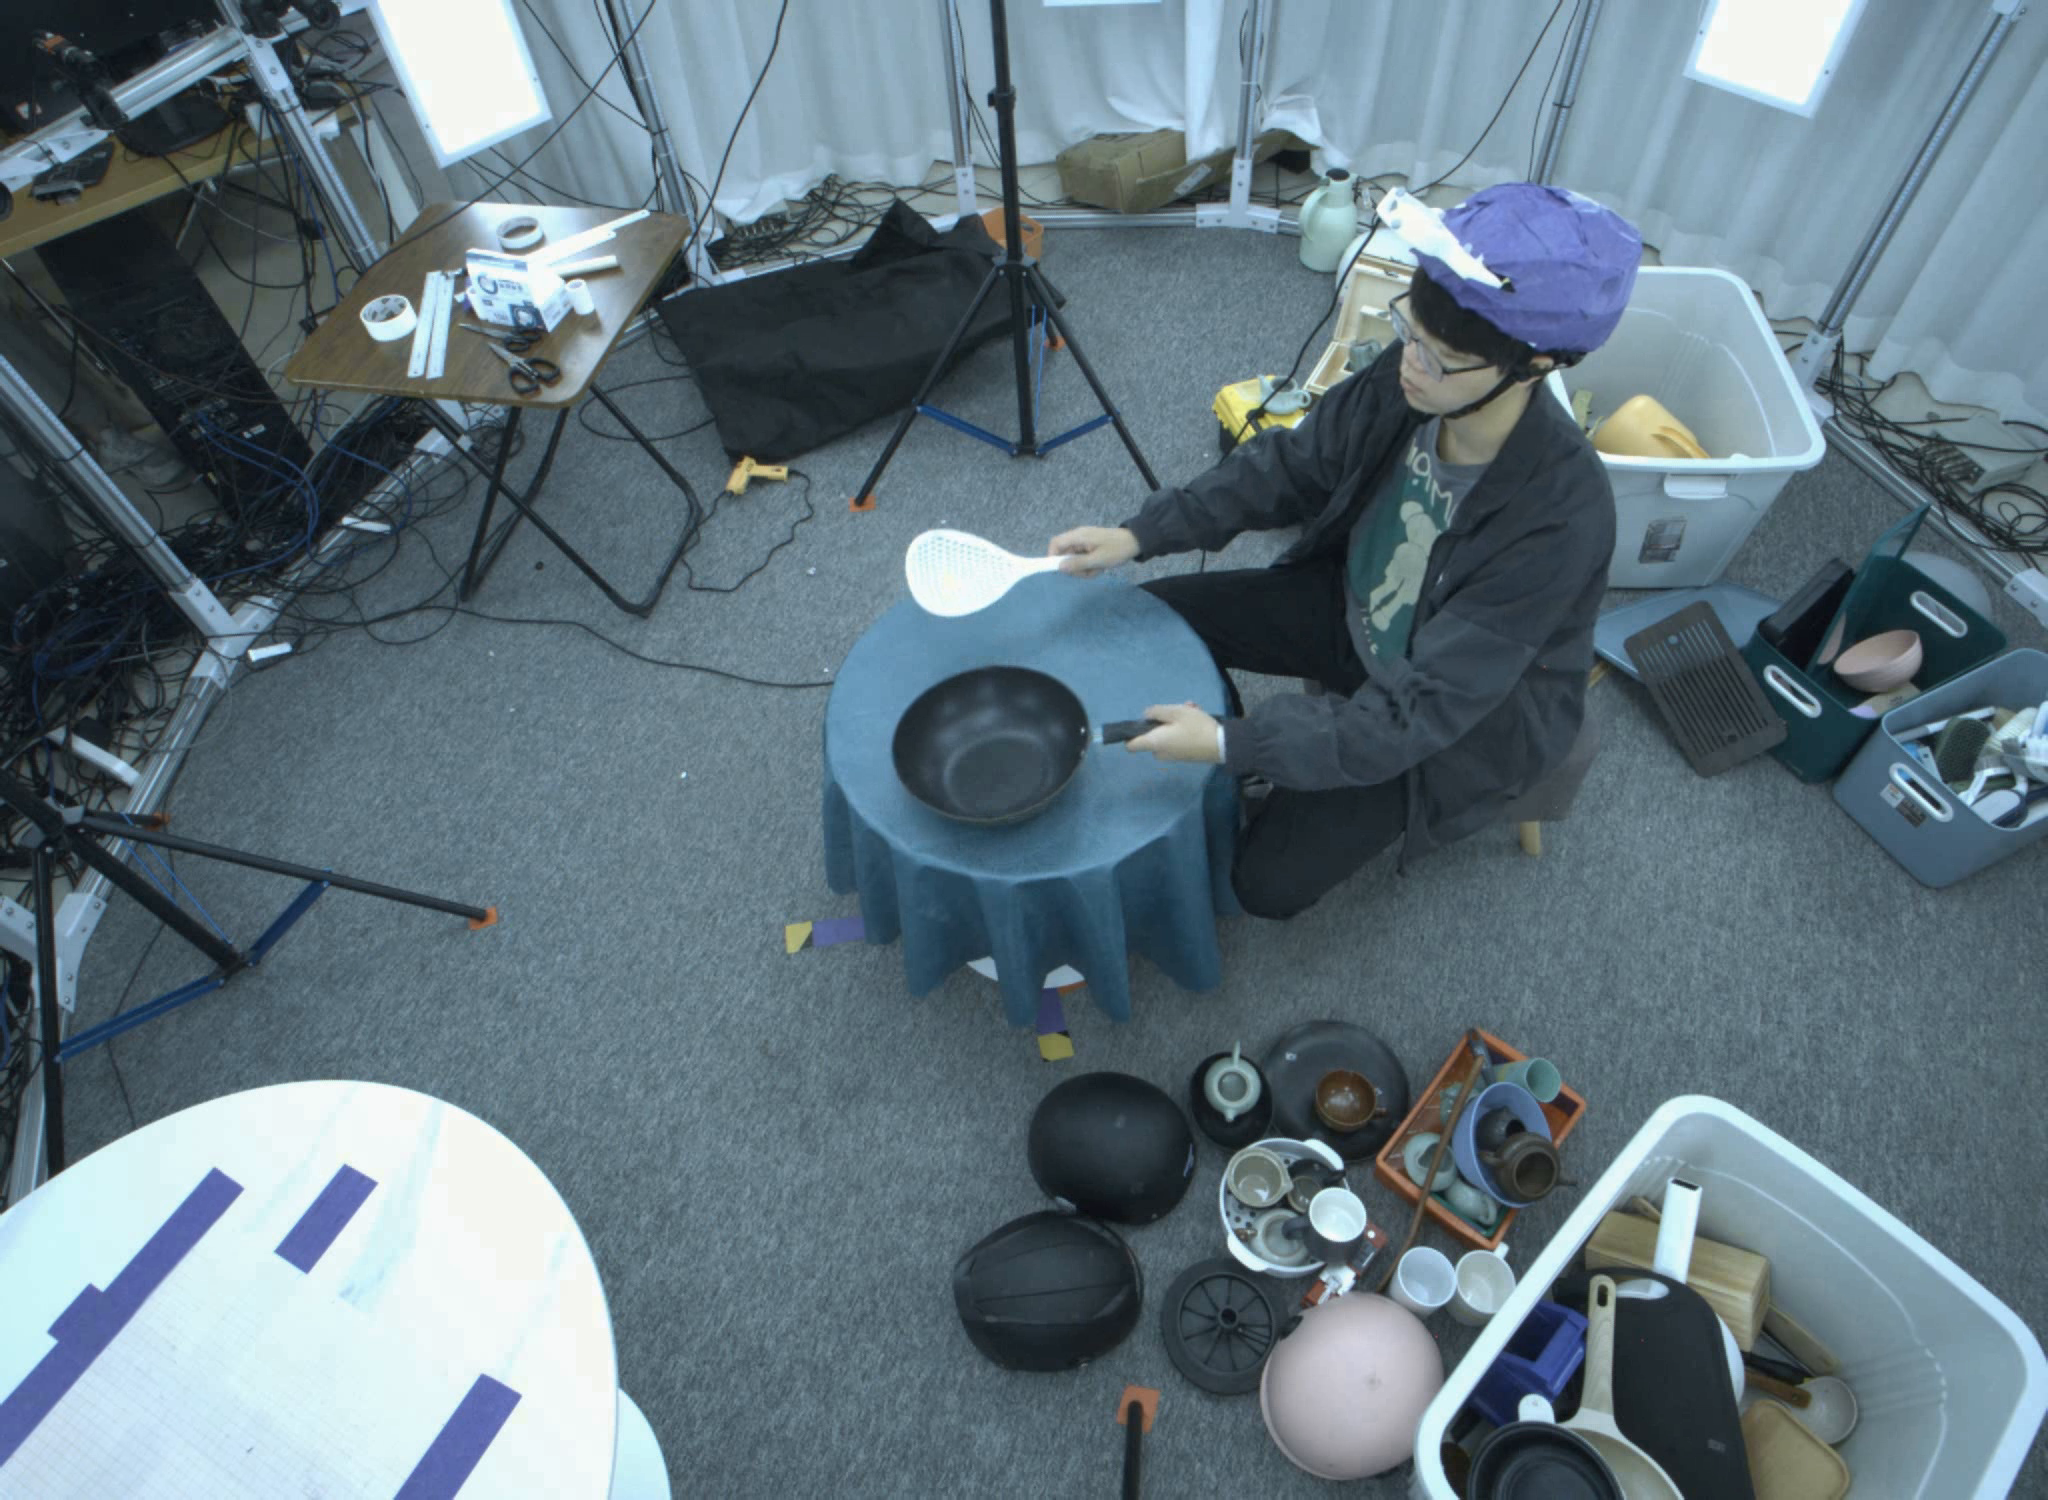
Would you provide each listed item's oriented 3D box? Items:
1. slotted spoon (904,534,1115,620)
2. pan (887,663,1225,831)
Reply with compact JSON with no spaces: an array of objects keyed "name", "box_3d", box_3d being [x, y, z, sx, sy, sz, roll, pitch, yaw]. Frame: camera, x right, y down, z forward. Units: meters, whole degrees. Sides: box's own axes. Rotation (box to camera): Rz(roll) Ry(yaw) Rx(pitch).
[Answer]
[{"name":"slotted spoon","box_3d":[-0.014,-0.268,1.849,0.352,0.050,0.136,-10,79,-19]},{"name":"pan","box_3d":[0.046,0.003,1.712,0.462,0.088,0.285,-3,52,3]}]
